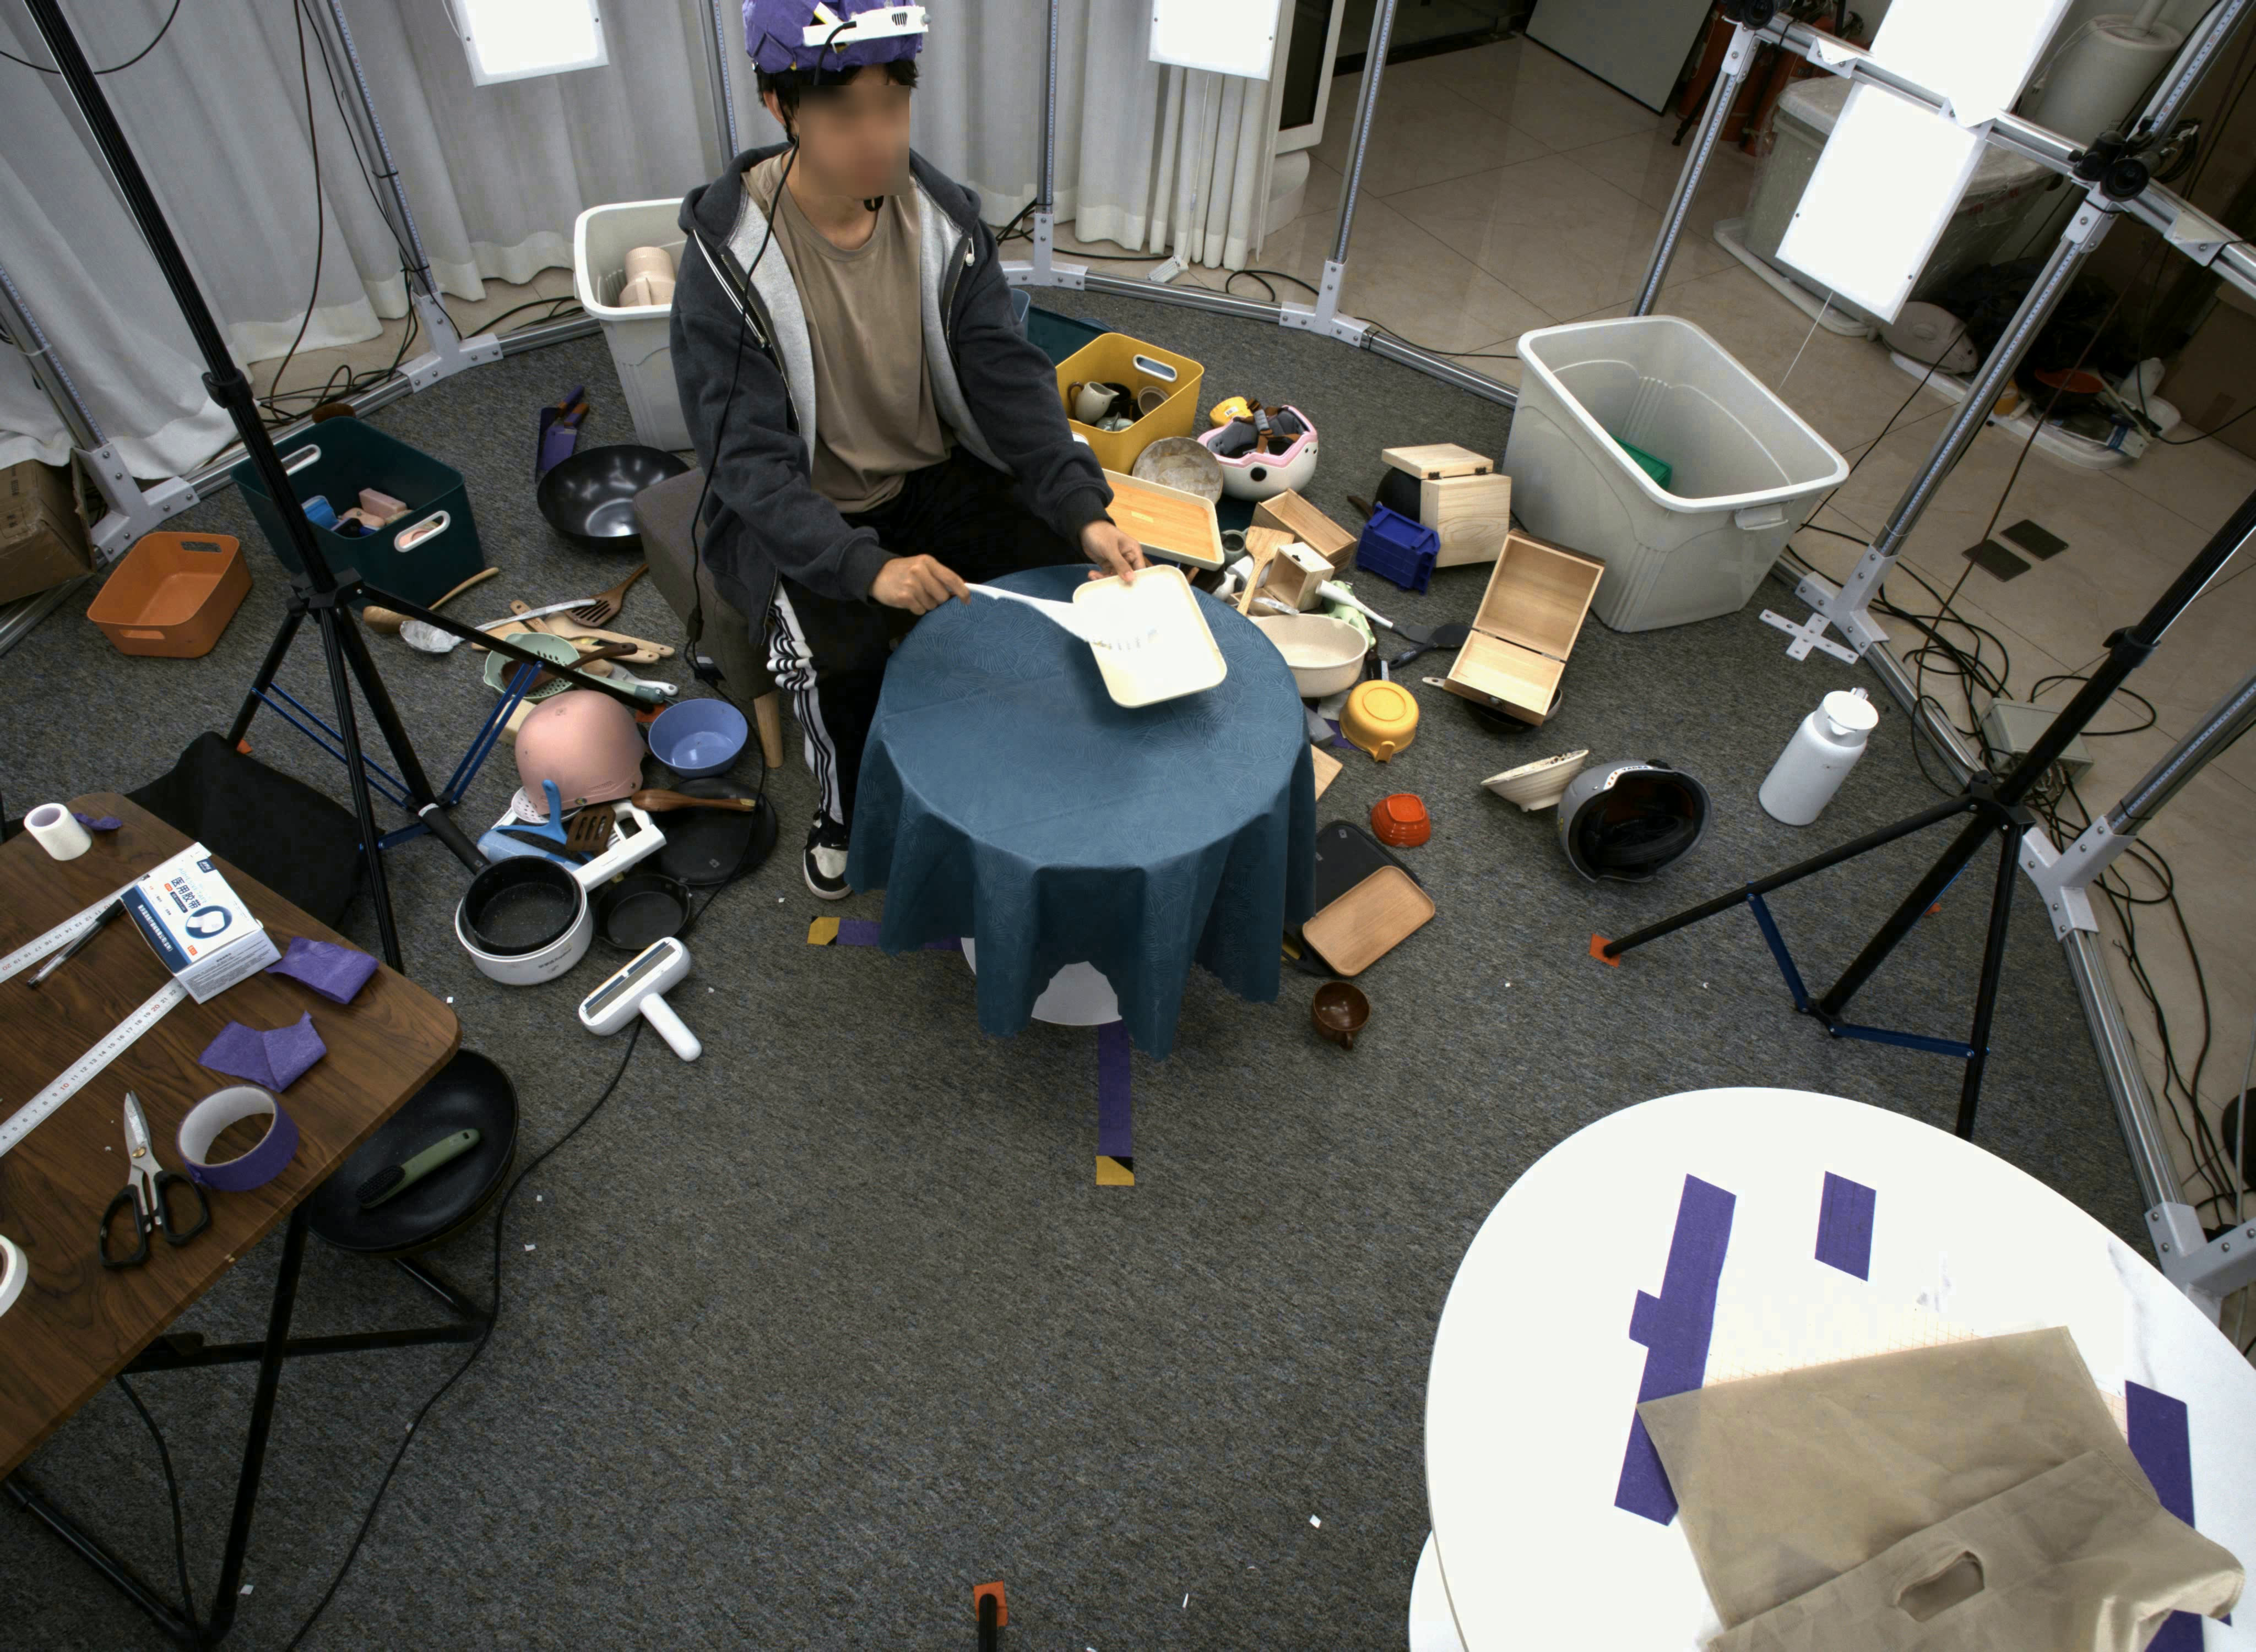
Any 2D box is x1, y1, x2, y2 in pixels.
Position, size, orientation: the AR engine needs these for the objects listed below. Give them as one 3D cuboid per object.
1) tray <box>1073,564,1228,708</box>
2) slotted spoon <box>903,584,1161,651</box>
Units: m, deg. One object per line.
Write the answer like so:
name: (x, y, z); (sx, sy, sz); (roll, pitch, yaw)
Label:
tray: (0.030, -0.271, 1.827); (0.171, 0.017, 0.245); (-15, 56, -8)
slotted spoon: (-0.128, -0.286, 1.706); (0.349, 0.136, 0.050); (18, 90, 9)
